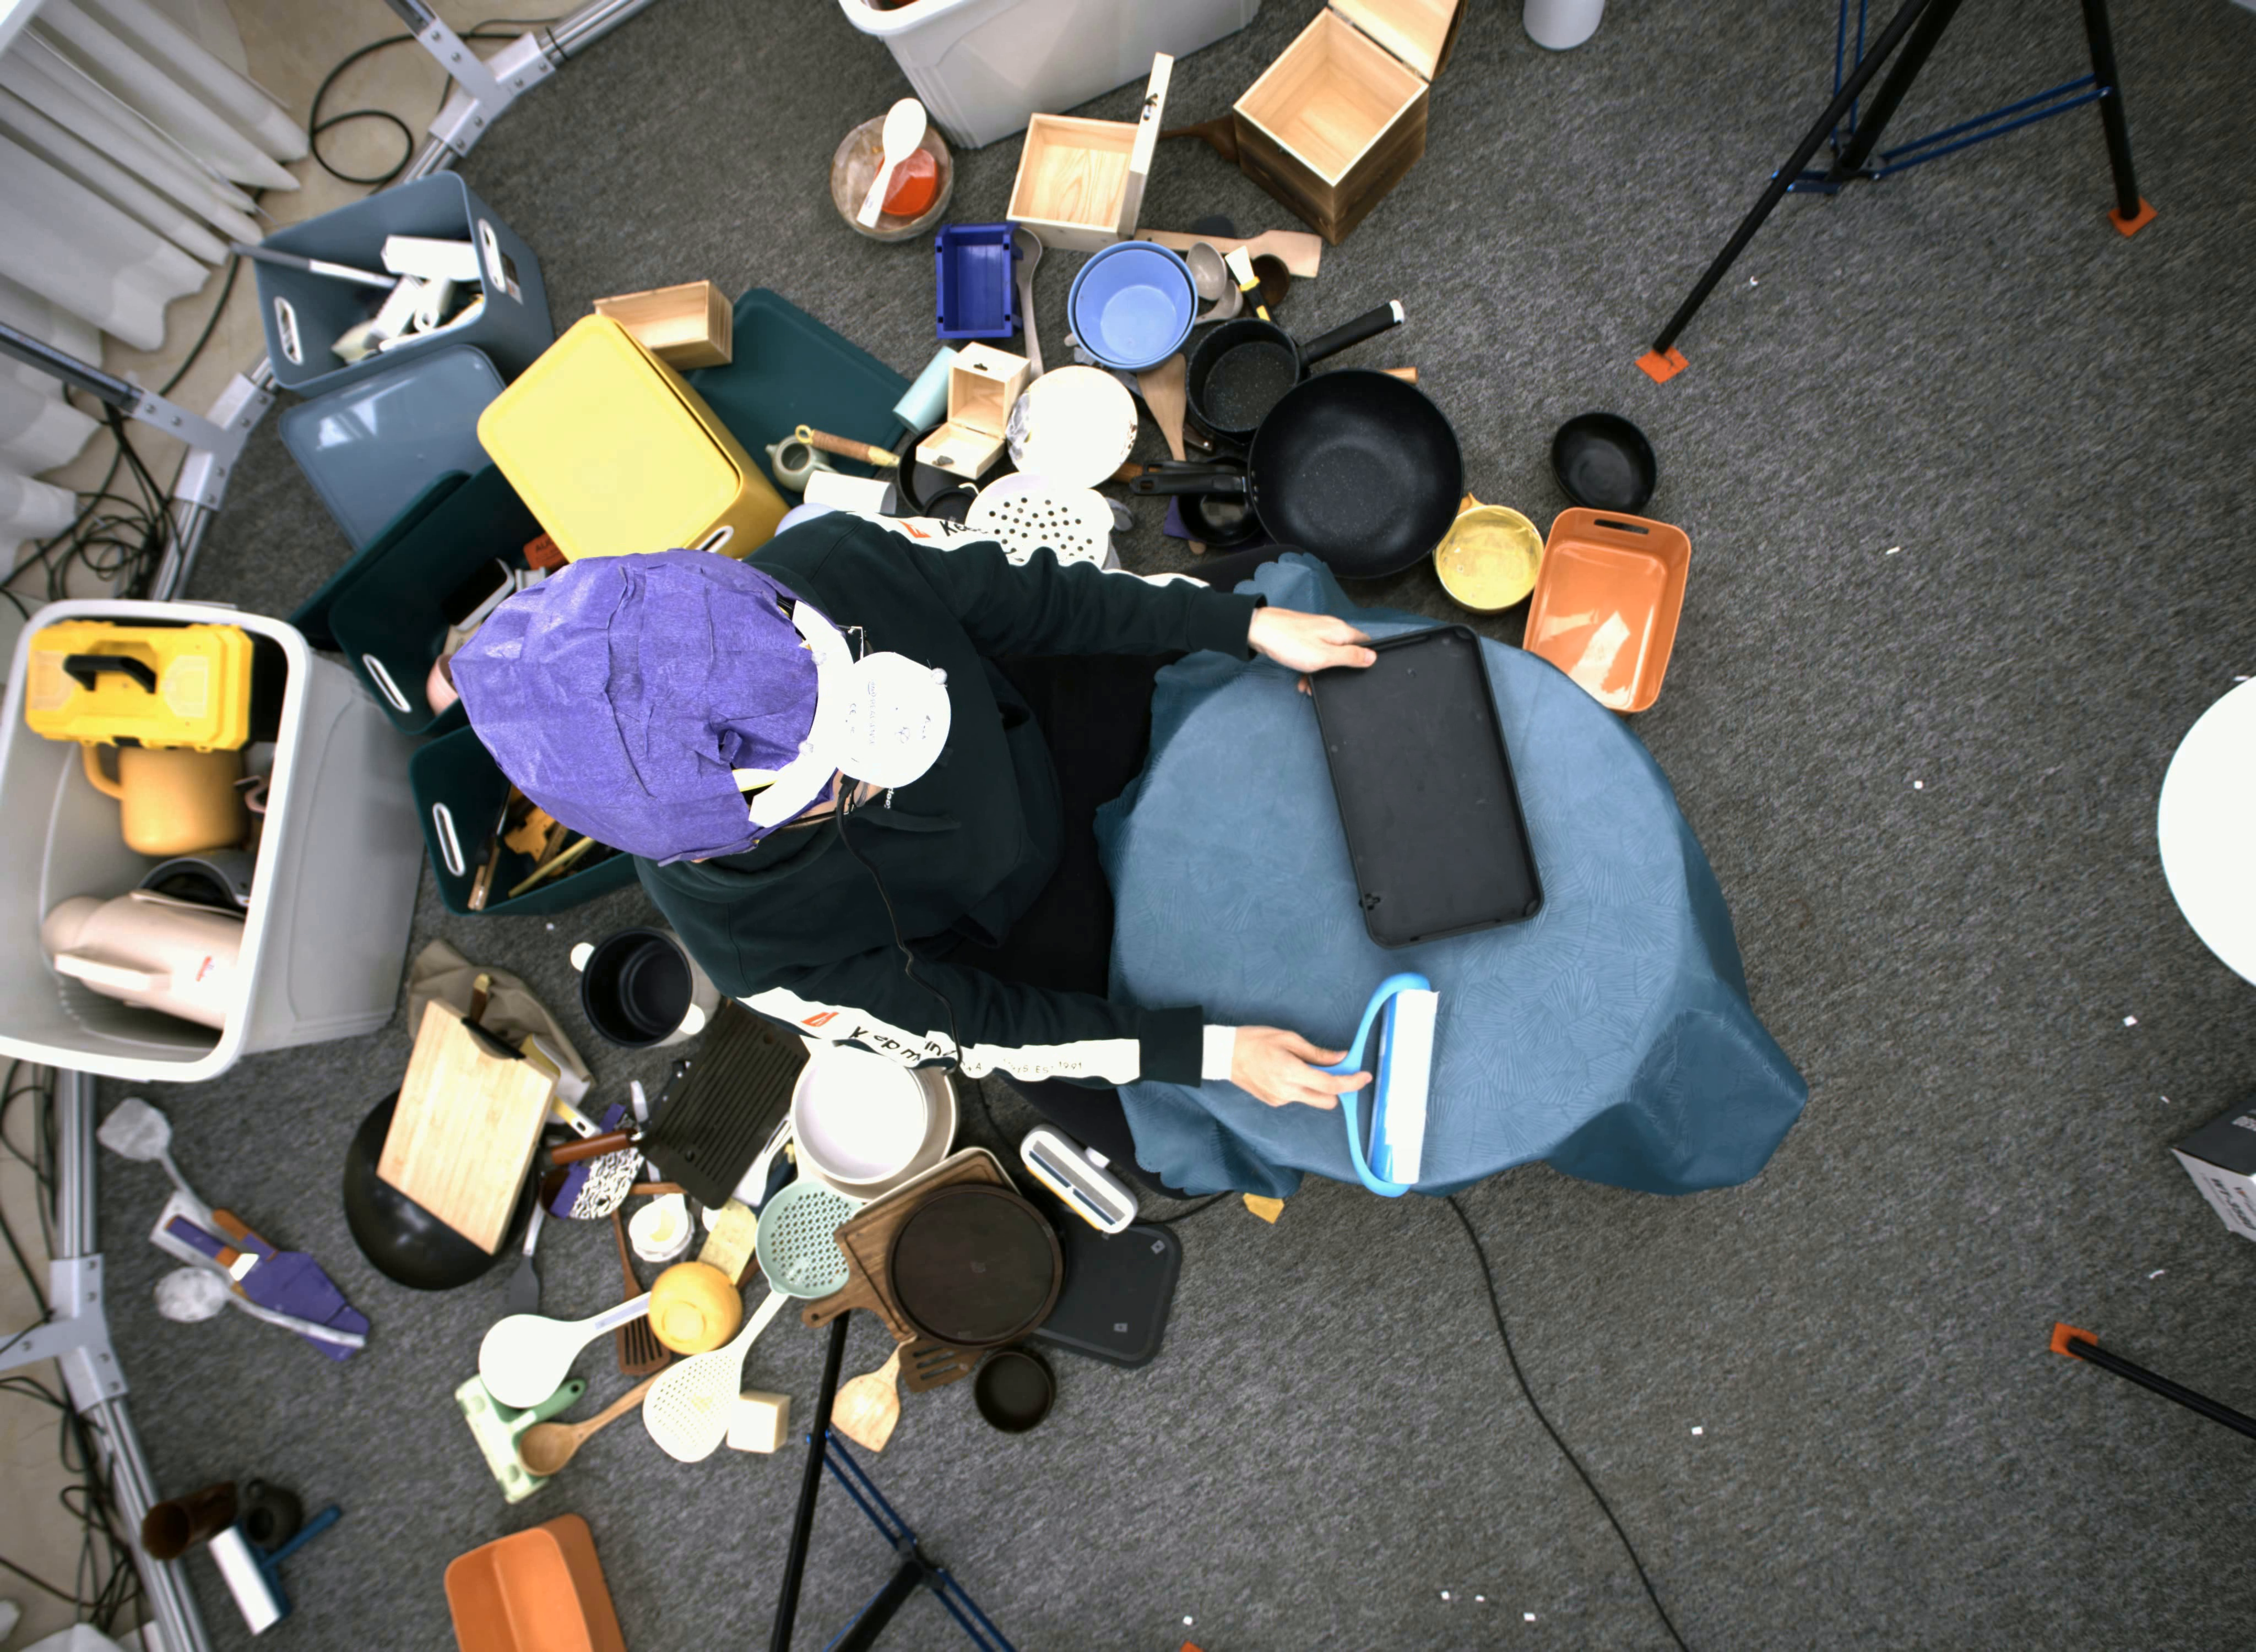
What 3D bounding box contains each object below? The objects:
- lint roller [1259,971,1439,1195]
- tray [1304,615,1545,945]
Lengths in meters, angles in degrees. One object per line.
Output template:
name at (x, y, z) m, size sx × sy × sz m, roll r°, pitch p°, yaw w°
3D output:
lint roller at (0.223, 0.258, 1.423) m, size 0.181 × 0.068 × 0.228 m, roll 3°, pitch 90°, yaw 8°
tray at (0.304, -0.049, 1.424) m, size 0.185 × 0.037 × 0.317 m, roll -14°, pitch 88°, yaw 3°
